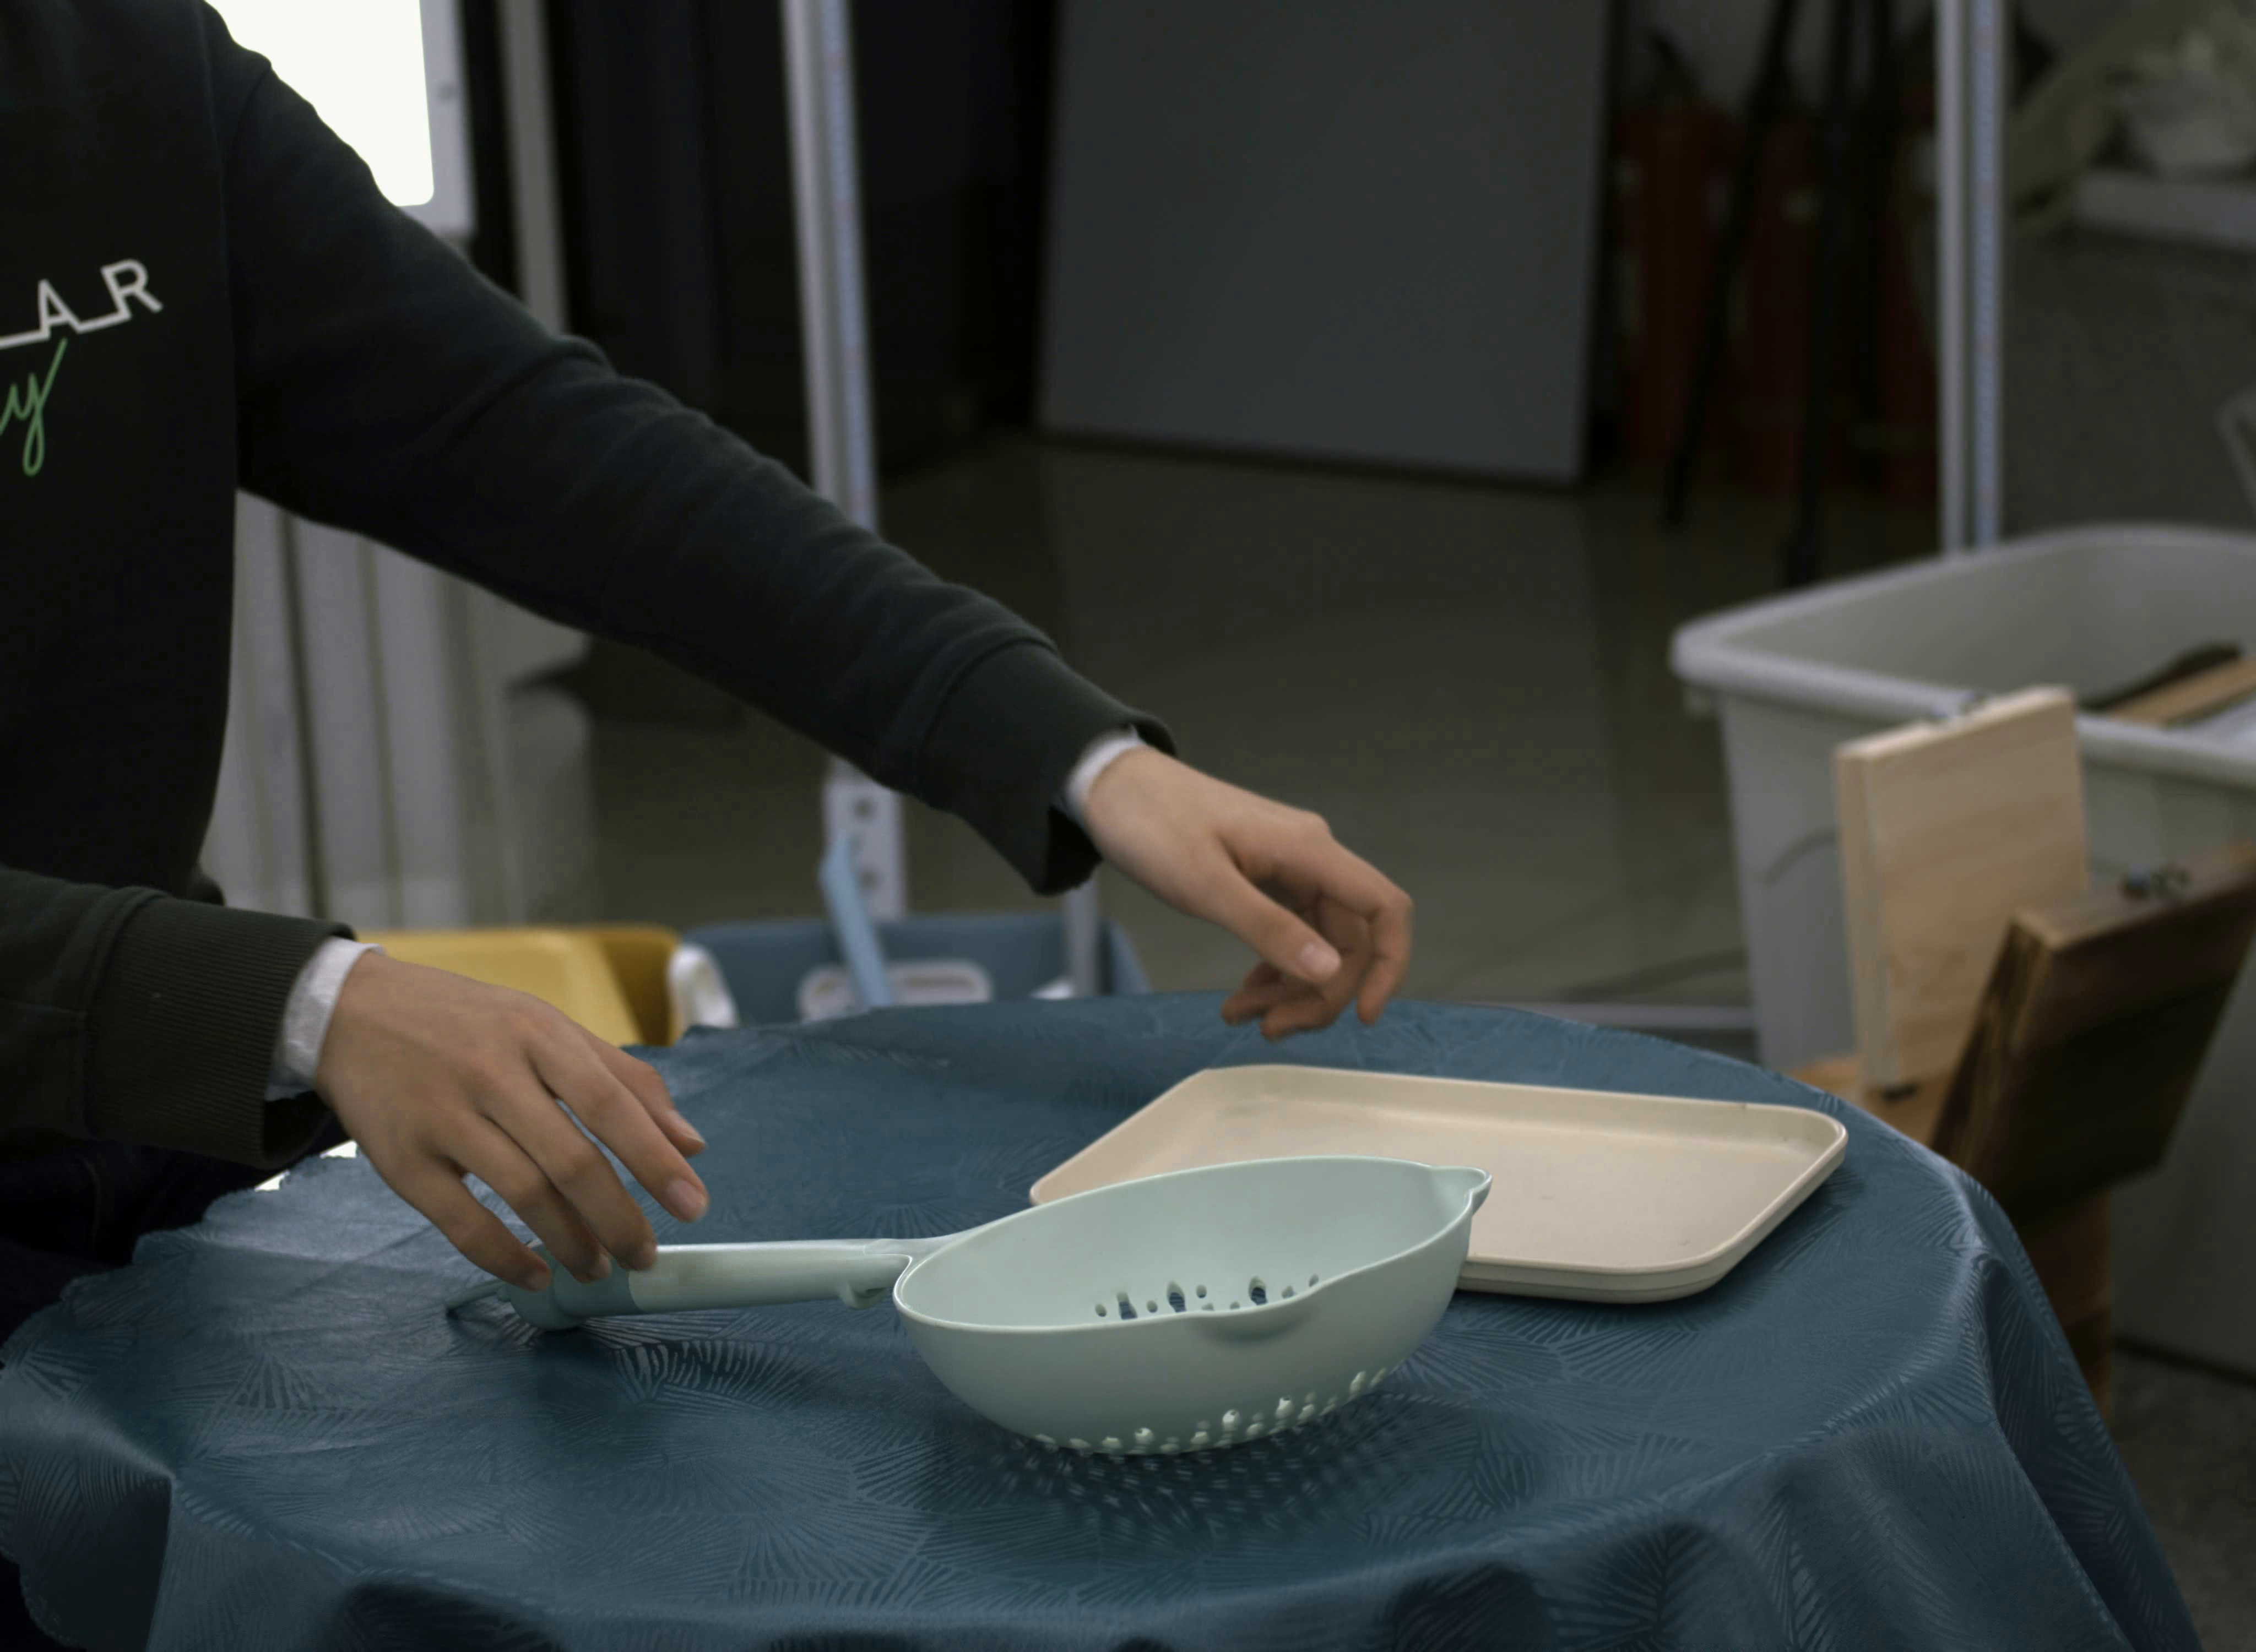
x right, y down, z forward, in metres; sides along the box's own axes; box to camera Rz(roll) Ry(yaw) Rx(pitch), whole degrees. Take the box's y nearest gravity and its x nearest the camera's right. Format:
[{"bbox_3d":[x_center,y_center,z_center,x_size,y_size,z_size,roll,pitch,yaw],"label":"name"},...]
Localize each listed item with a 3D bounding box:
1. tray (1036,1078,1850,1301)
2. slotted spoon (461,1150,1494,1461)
[{"bbox_3d":[0.102,0.116,1.728,0.240,0.017,0.169,2,15,26],"label":"tray"},{"bbox_3d":[-0.061,0.137,1.596,0.361,0.076,0.166,4,15,33],"label":"slotted spoon"}]
